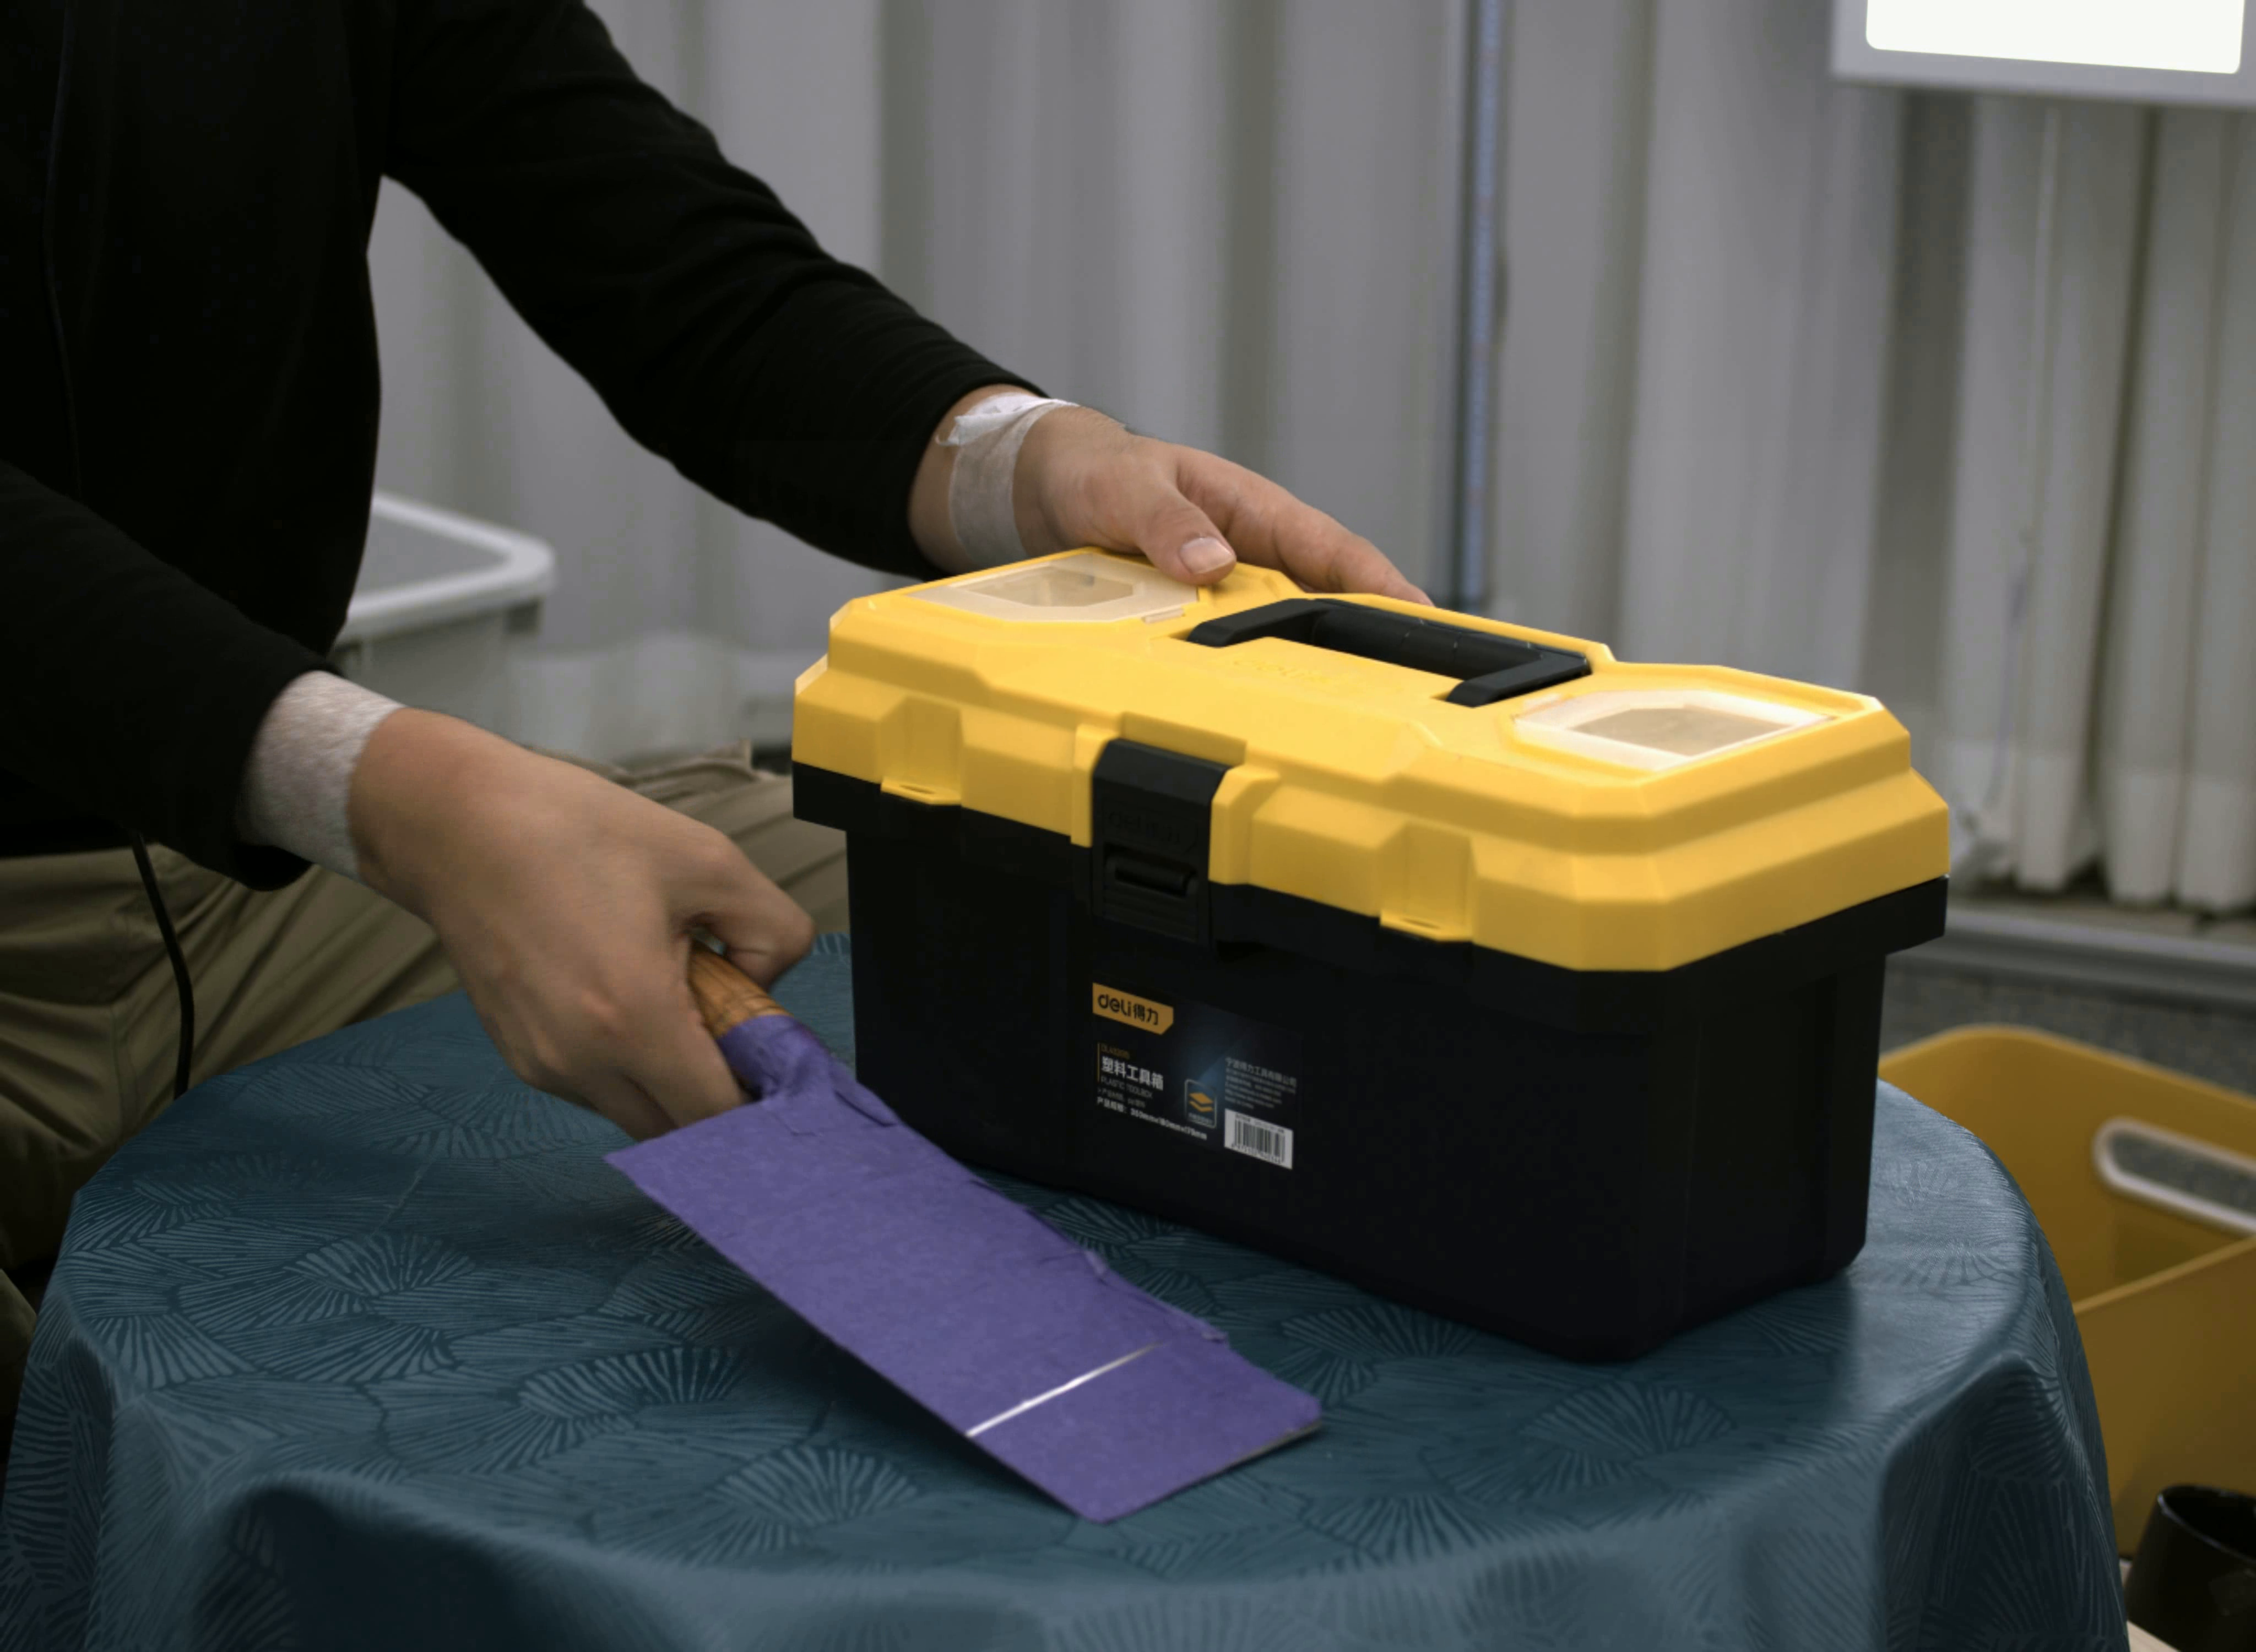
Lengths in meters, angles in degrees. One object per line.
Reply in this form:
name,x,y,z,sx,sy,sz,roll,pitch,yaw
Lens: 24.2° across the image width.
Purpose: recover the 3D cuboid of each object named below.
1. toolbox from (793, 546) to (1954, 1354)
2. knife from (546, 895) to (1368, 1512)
toolbox,0.065,0.030,1.595,0.347,0.174,0.182,14,20,42
knife,-0.077,0.101,1.484,0.311,0.032,0.104,29,32,35
